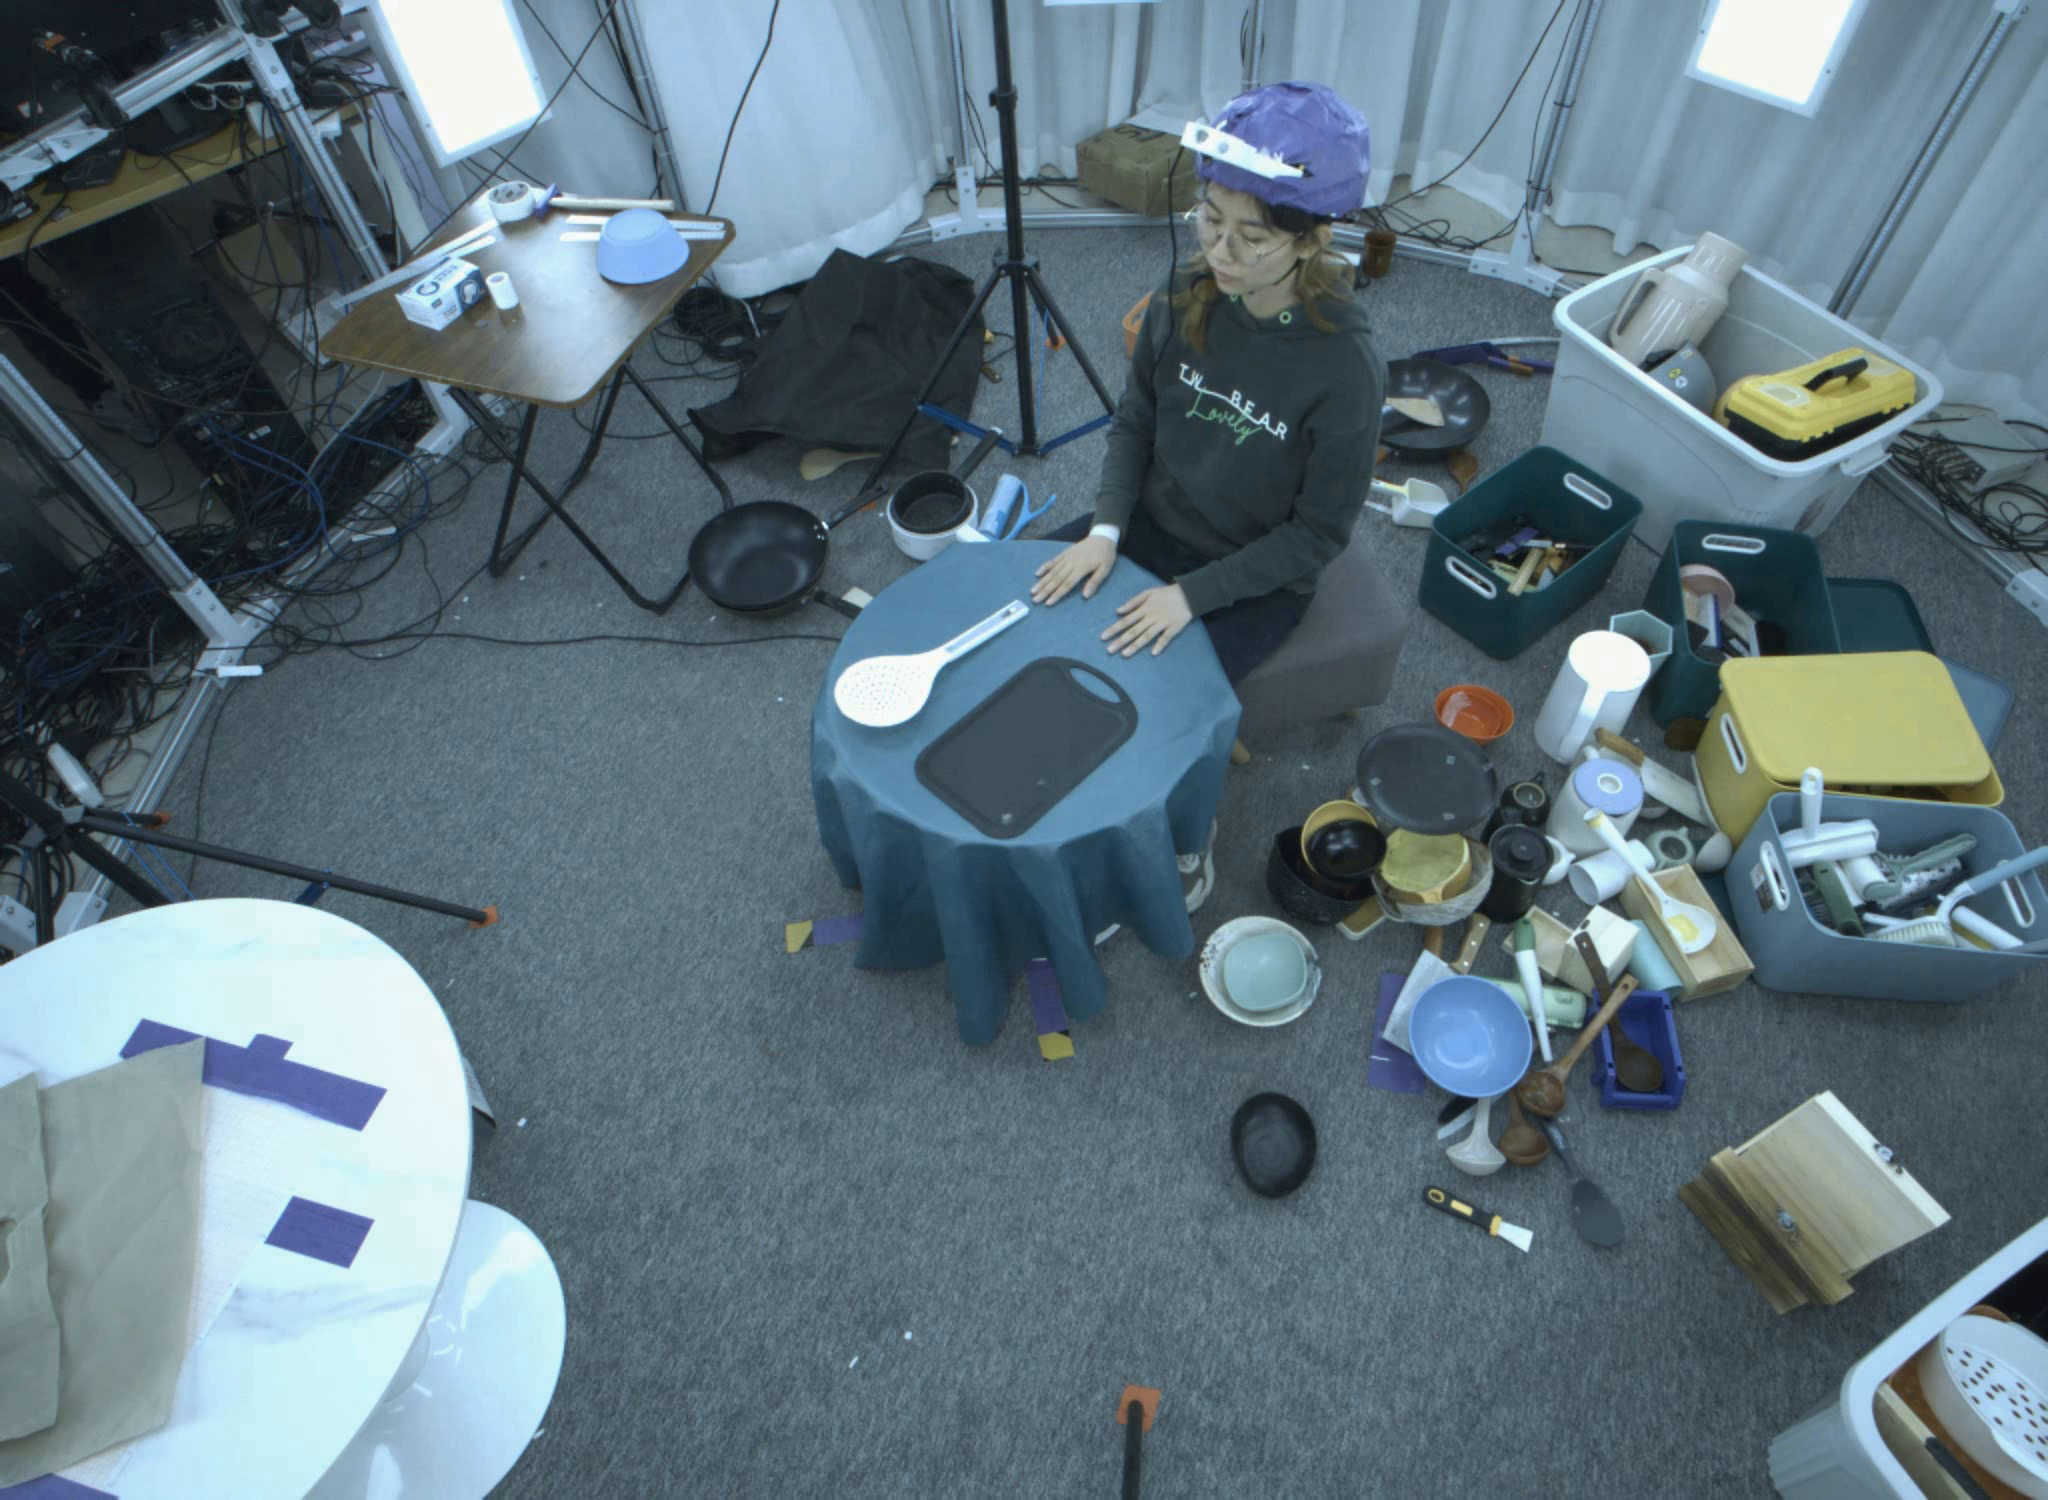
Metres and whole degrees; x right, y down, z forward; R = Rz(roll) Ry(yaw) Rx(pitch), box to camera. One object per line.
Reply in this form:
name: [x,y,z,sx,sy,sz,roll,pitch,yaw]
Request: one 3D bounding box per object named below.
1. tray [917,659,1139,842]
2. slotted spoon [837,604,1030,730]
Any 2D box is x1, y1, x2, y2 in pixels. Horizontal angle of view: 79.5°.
tray: [0.013,-0.012,1.802,0.207,0.010,0.327,38,64,24]
slotted spoon: [-0.129,-0.135,1.868,0.352,0.046,0.134,-37,64,-23]
